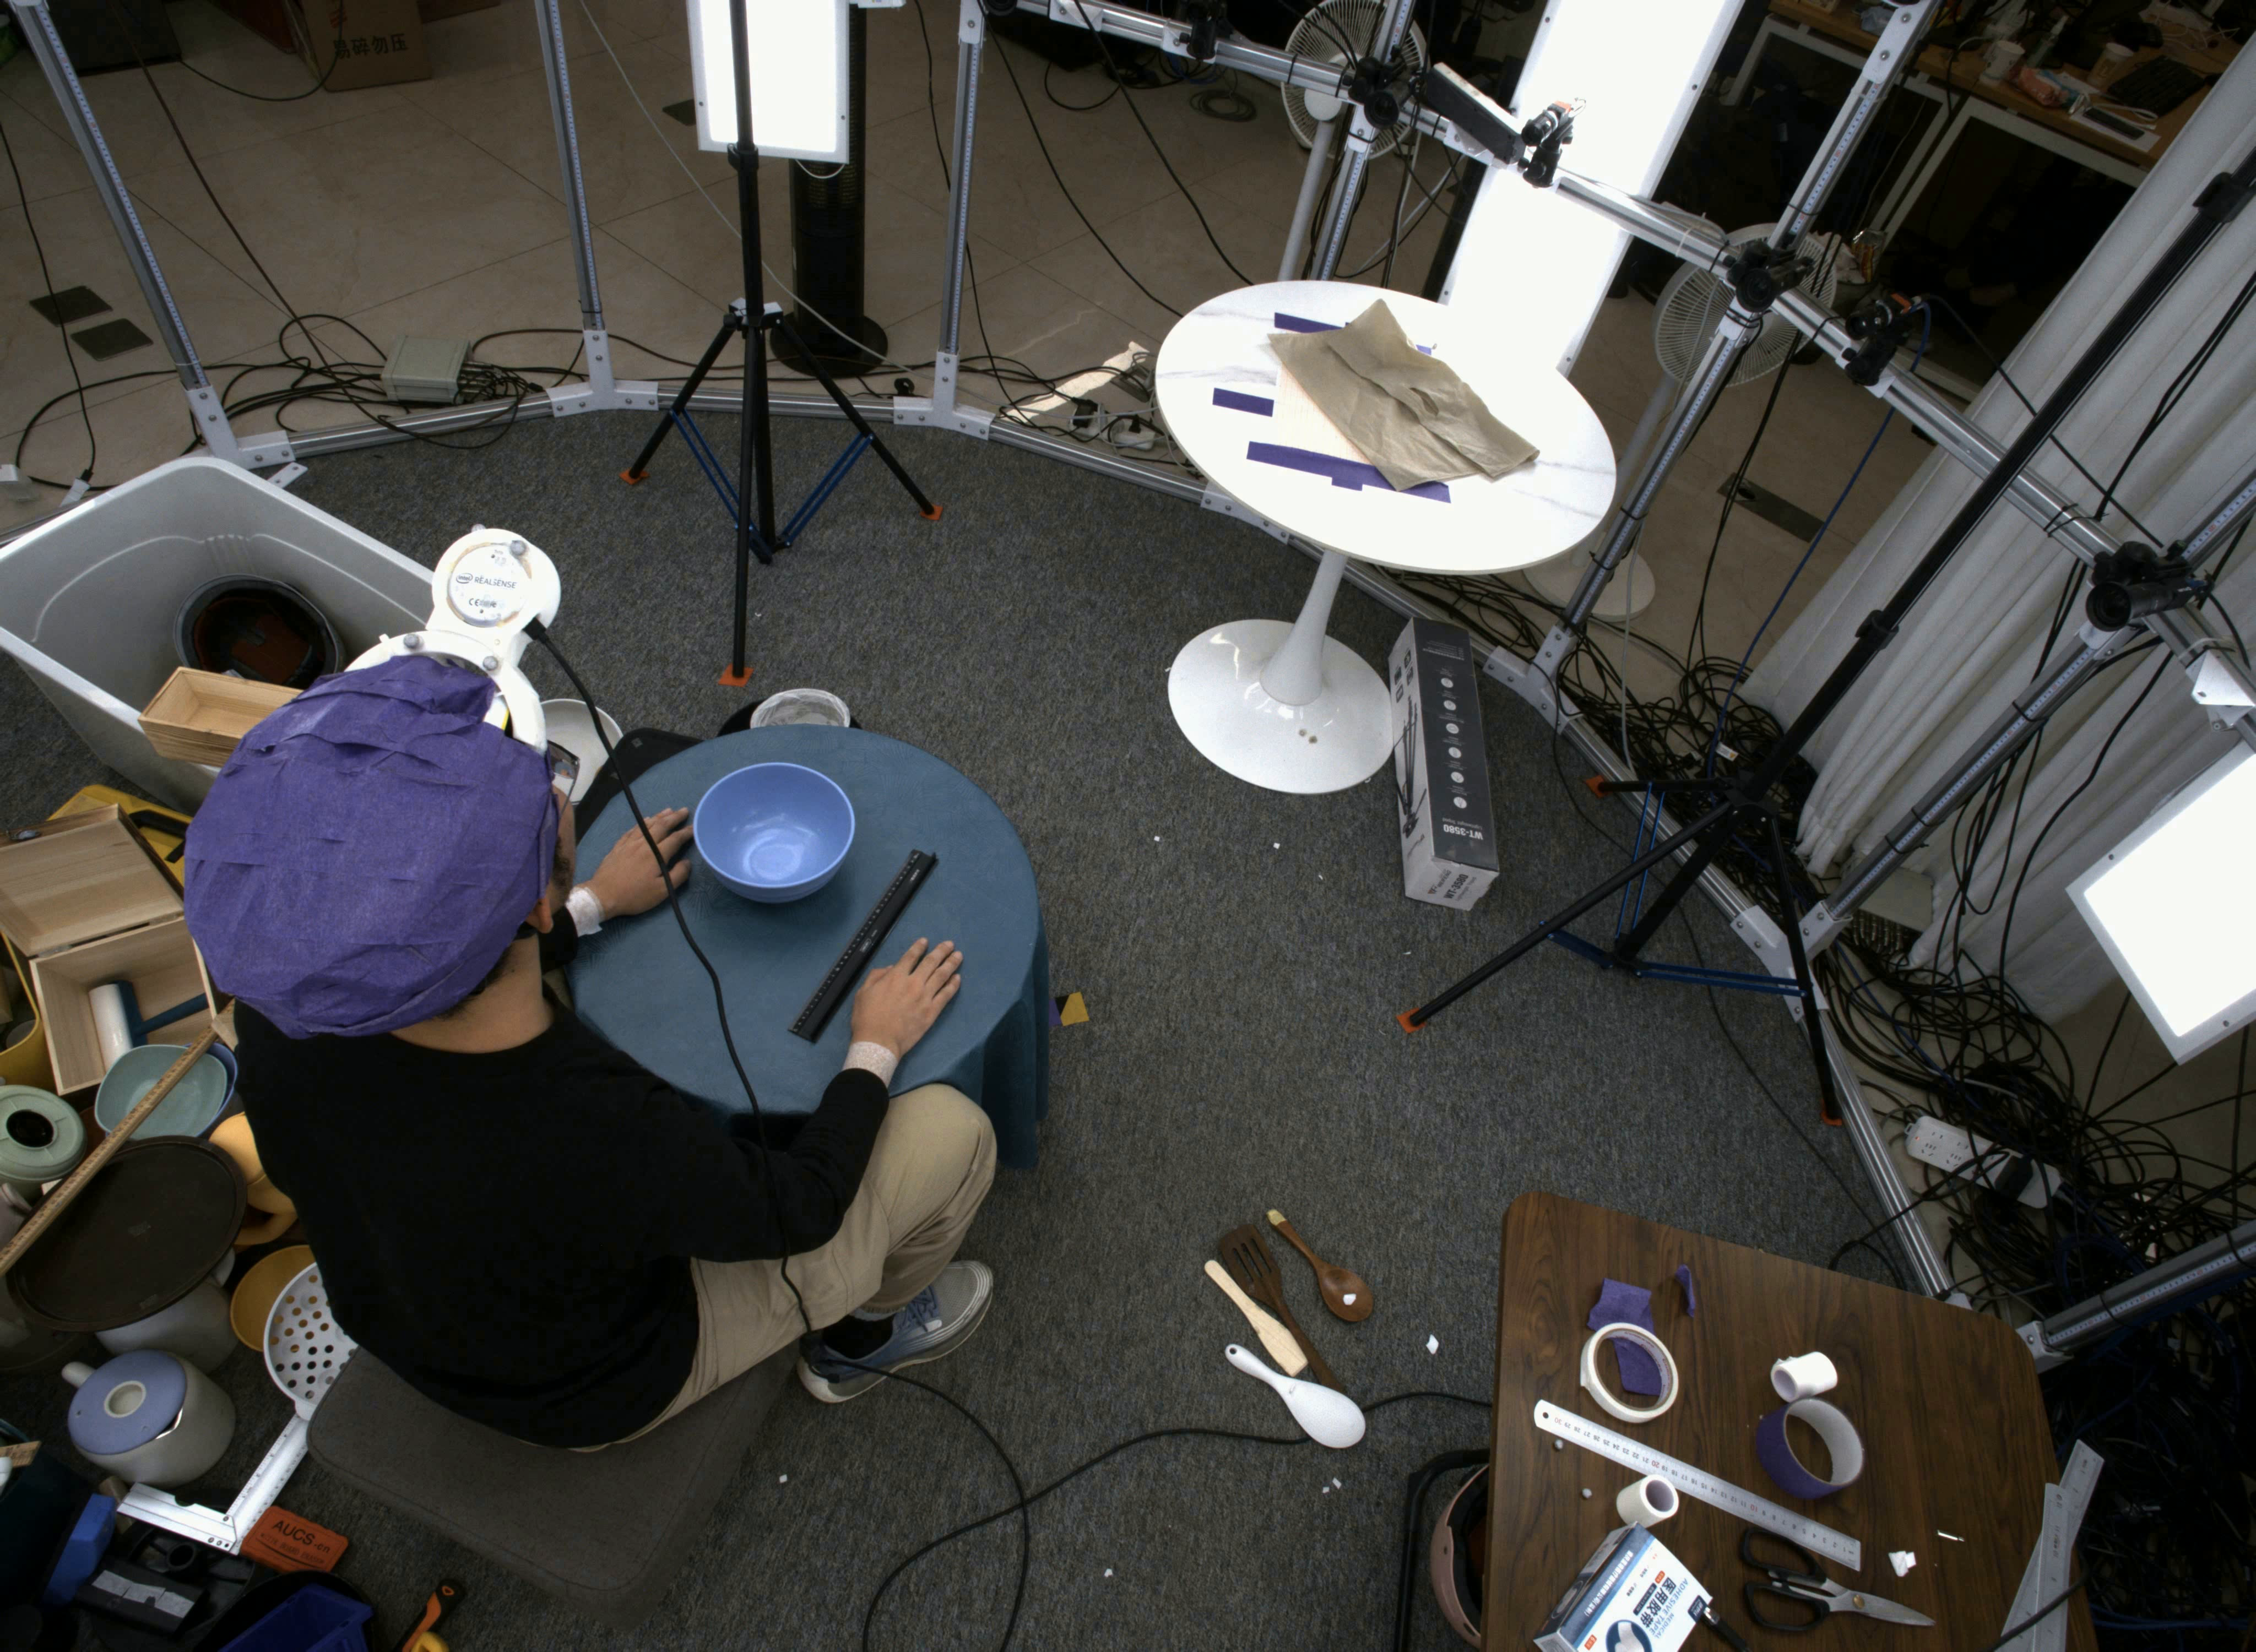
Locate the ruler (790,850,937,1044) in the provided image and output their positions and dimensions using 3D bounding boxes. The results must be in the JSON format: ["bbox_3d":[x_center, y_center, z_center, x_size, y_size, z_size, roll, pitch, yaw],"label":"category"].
[{"bbox_3d":[-0.328,0.138,1.631,0.038,0.017,0.310,21,51,10],"label":"ruler"}]

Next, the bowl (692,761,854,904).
[{"bbox_3d":[-0.445,0.022,1.635,0.196,0.097,0.193,8,51,-8],"label":"bowl"}]
